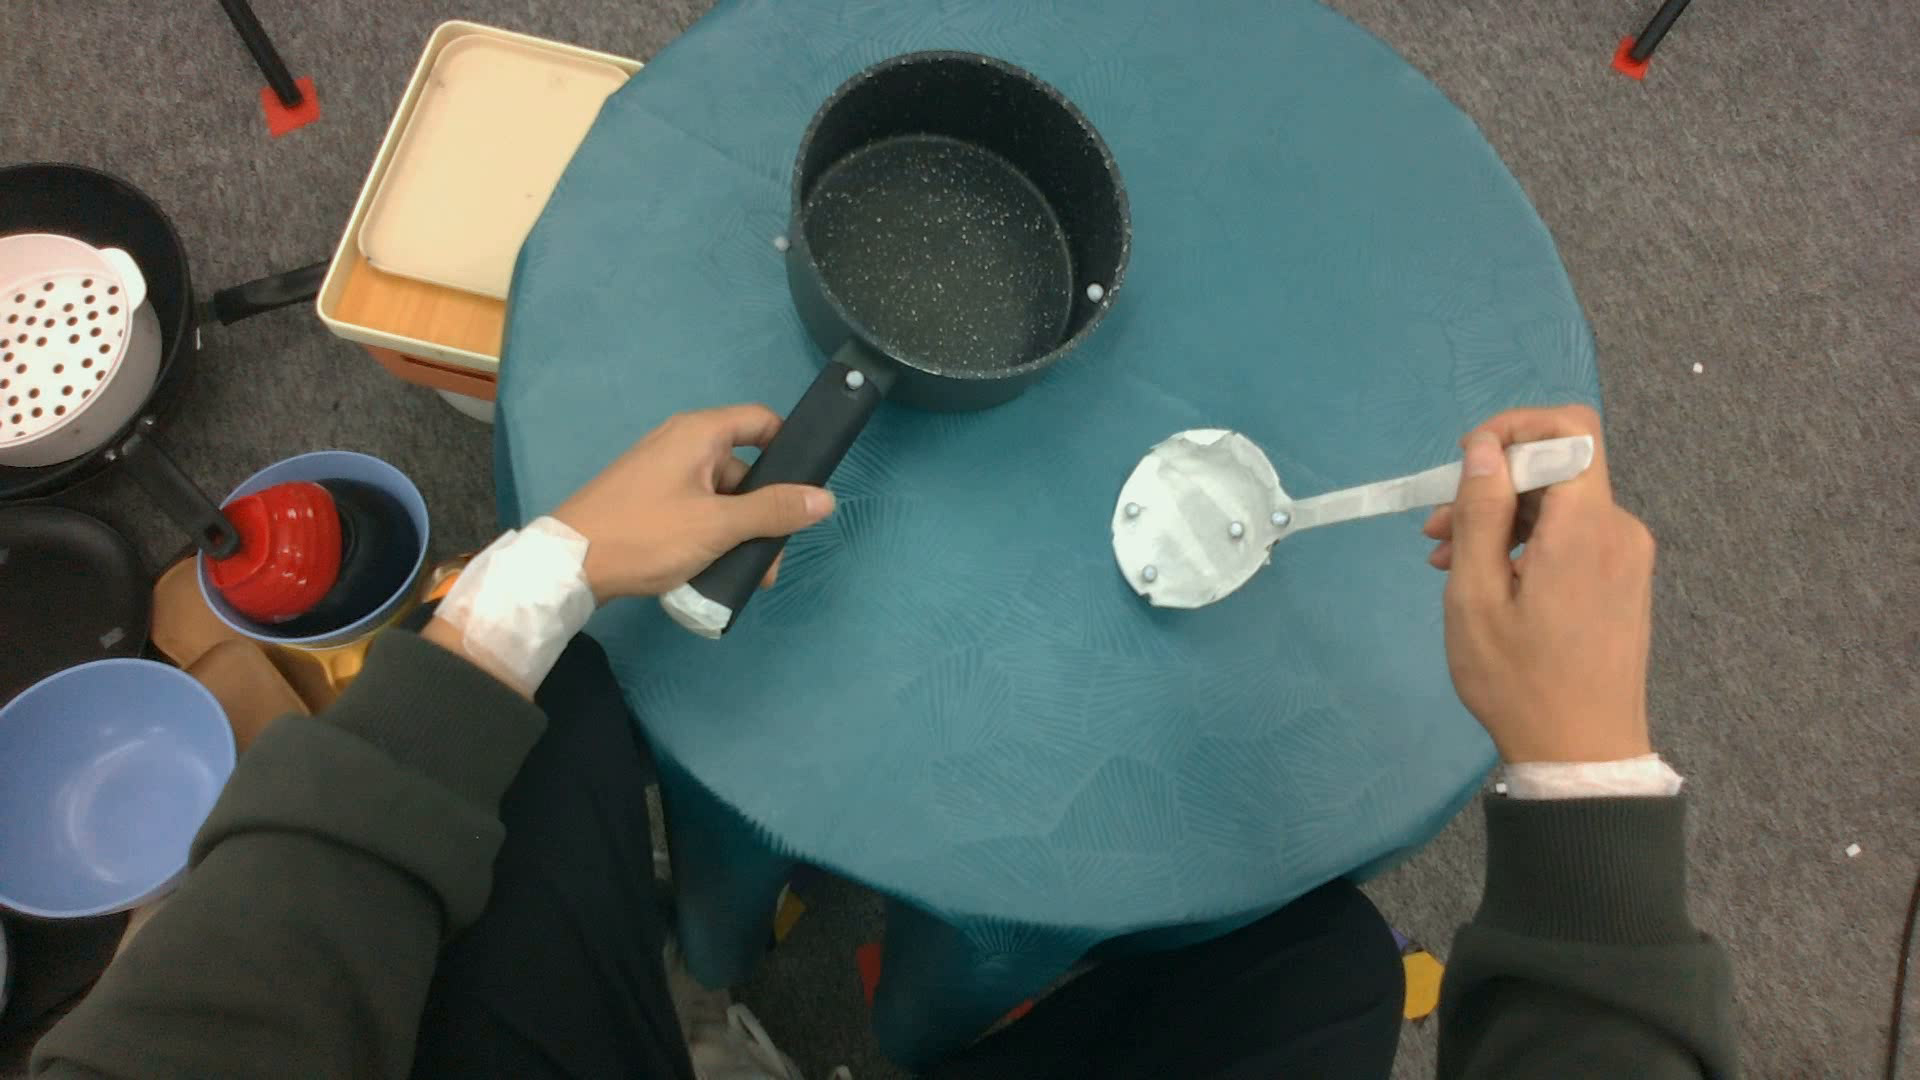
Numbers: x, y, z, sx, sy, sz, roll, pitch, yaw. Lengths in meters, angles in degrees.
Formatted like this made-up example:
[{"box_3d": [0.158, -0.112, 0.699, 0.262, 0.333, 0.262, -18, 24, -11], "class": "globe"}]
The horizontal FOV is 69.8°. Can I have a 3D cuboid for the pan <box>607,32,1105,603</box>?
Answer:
[{"box_3d": [-0.060, -0.100, 0.678, 0.172, 0.086, 0.330, 35, 71, -4], "class": "pan"}]

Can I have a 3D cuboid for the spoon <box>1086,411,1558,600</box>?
[{"box_3d": [0.137, -0.024, 0.600, 0.059, 0.277, 0.101, 13, 81, -17], "class": "spoon"}]
